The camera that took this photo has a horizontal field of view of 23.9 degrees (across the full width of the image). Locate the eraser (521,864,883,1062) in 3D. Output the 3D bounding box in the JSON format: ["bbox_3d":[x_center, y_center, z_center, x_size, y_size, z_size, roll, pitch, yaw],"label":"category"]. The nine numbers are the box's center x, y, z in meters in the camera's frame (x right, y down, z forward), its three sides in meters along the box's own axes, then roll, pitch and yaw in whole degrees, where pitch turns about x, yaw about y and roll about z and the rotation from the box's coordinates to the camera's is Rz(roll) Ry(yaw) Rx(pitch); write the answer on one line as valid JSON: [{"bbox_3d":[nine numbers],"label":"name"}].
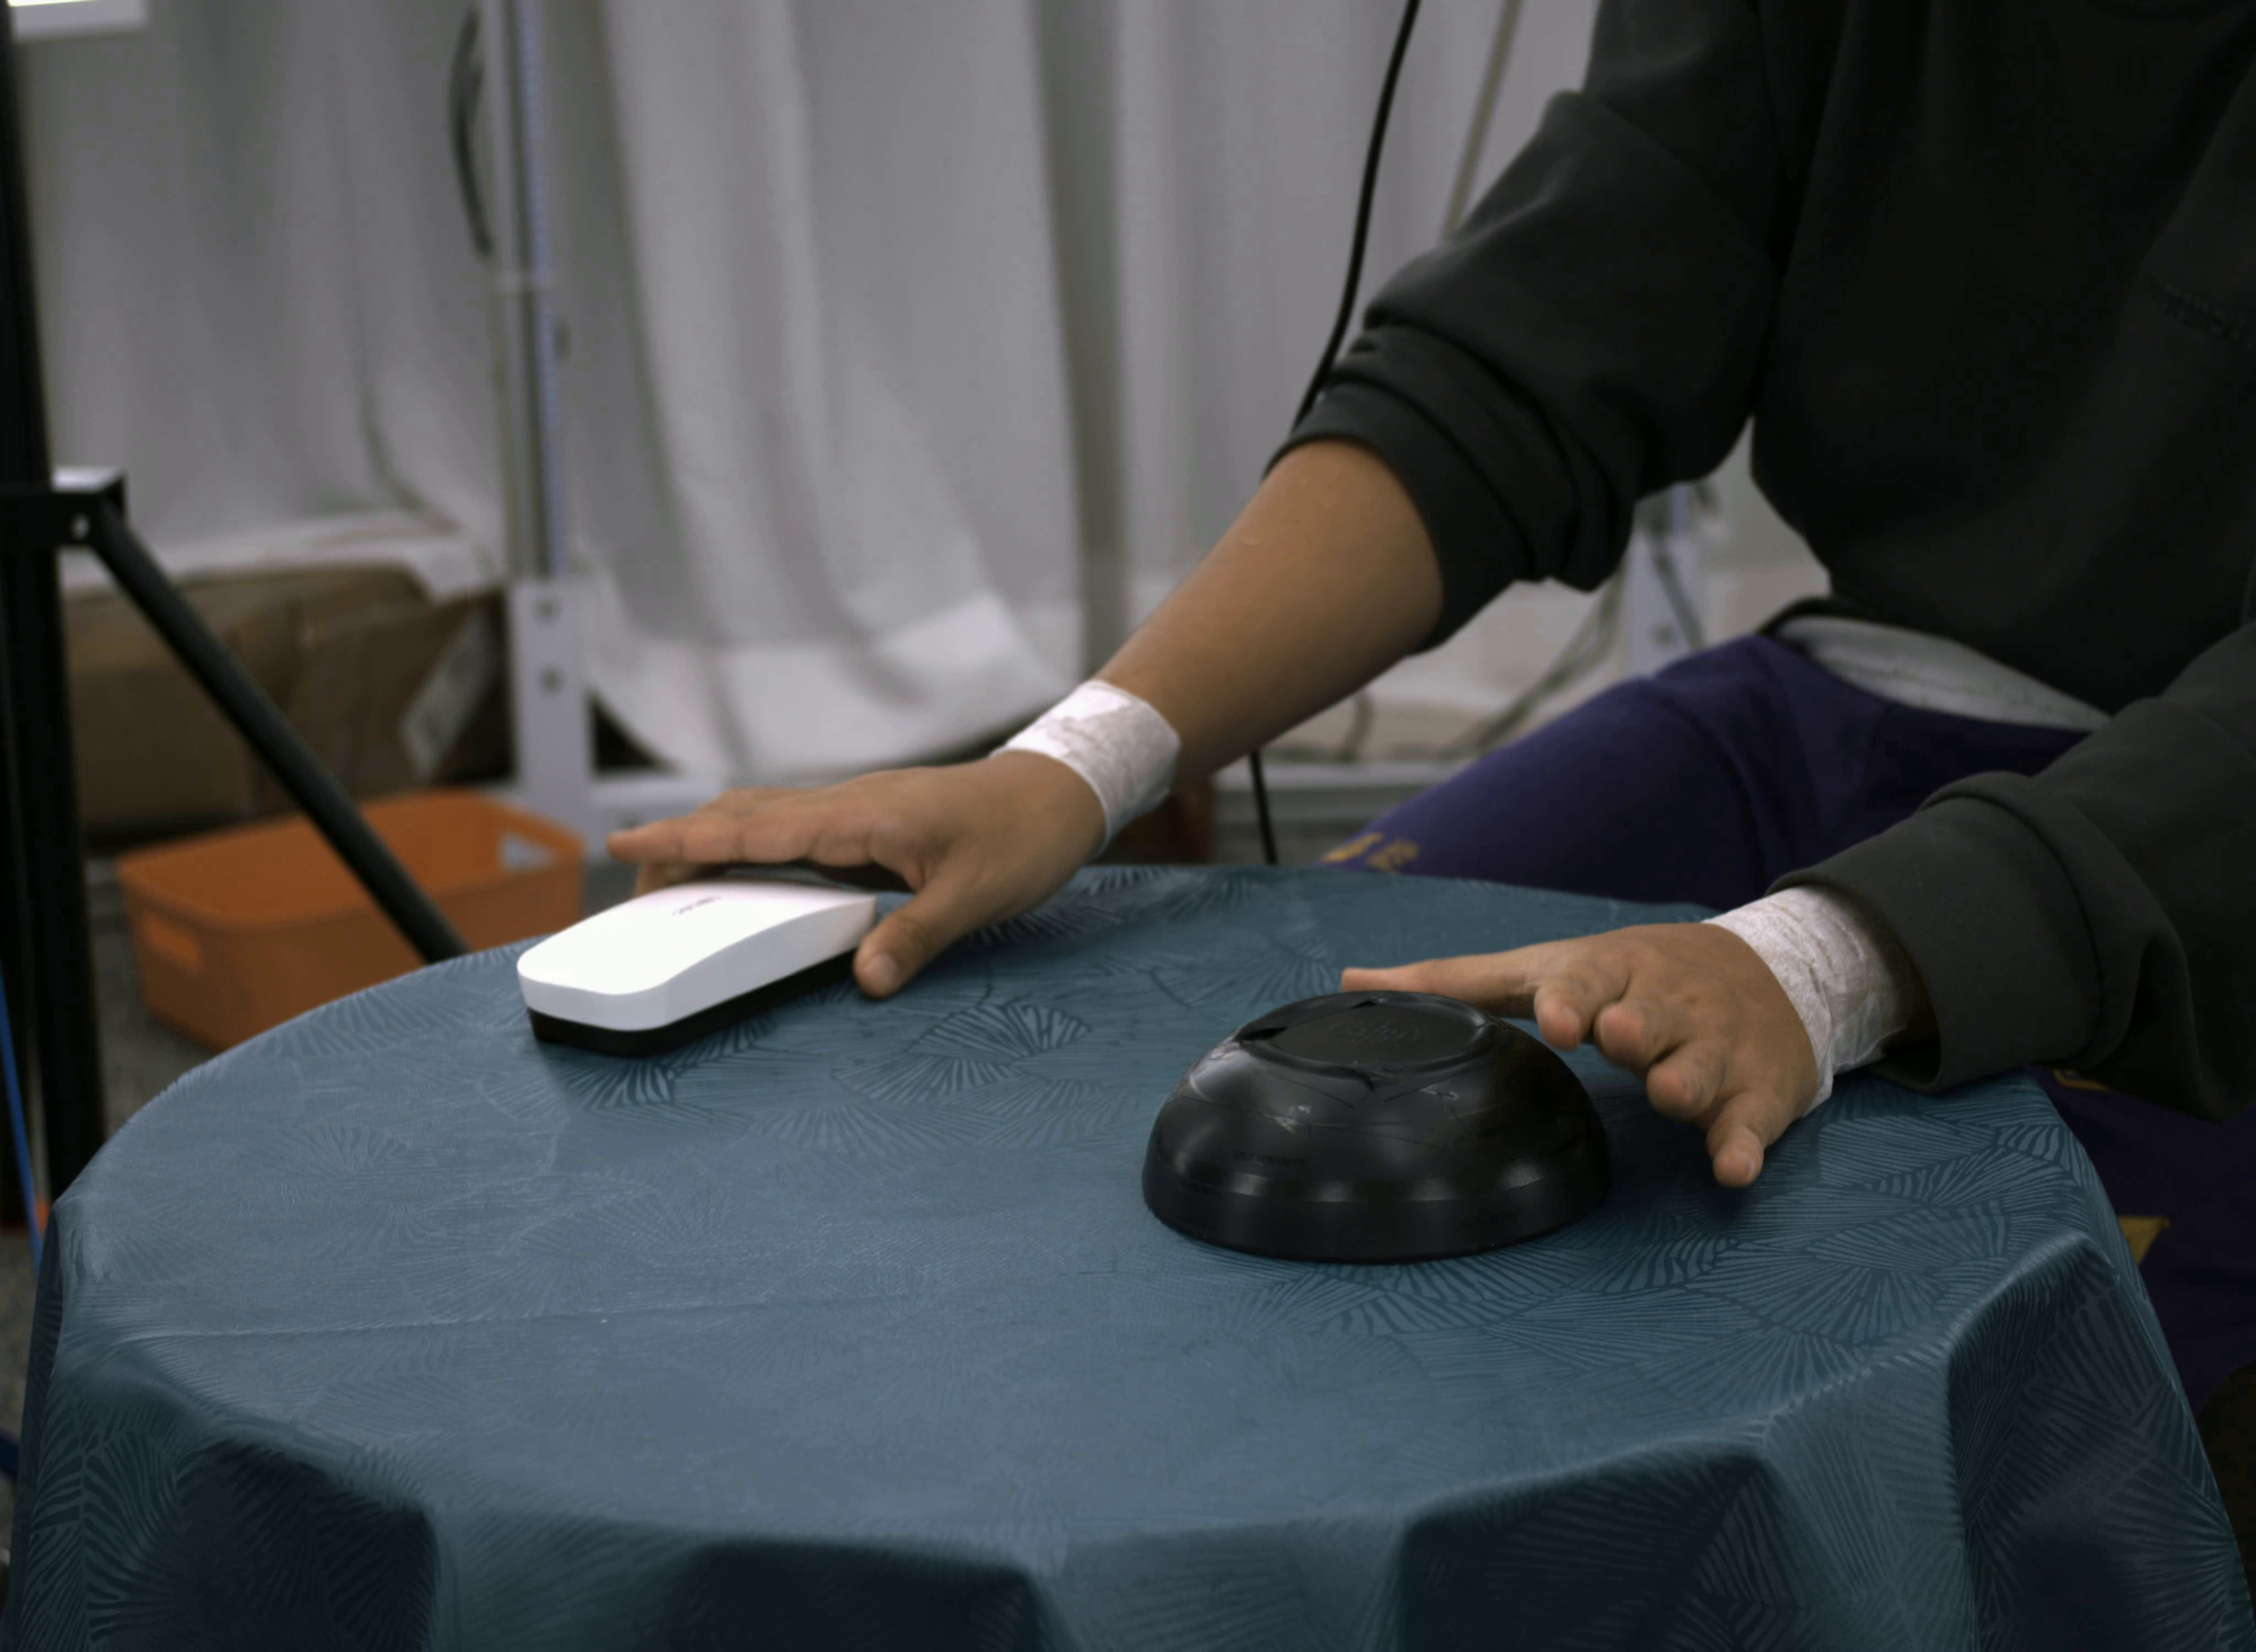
[{"bbox_3d":[-0.138,0.042,1.758,0.065,0.034,0.128,11,23,38],"label":"eraser"}]

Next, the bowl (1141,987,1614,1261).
[{"bbox_3d":[0.072,0.081,1.550,0.139,0.050,0.141,-4,16,0],"label":"bowl"}]
